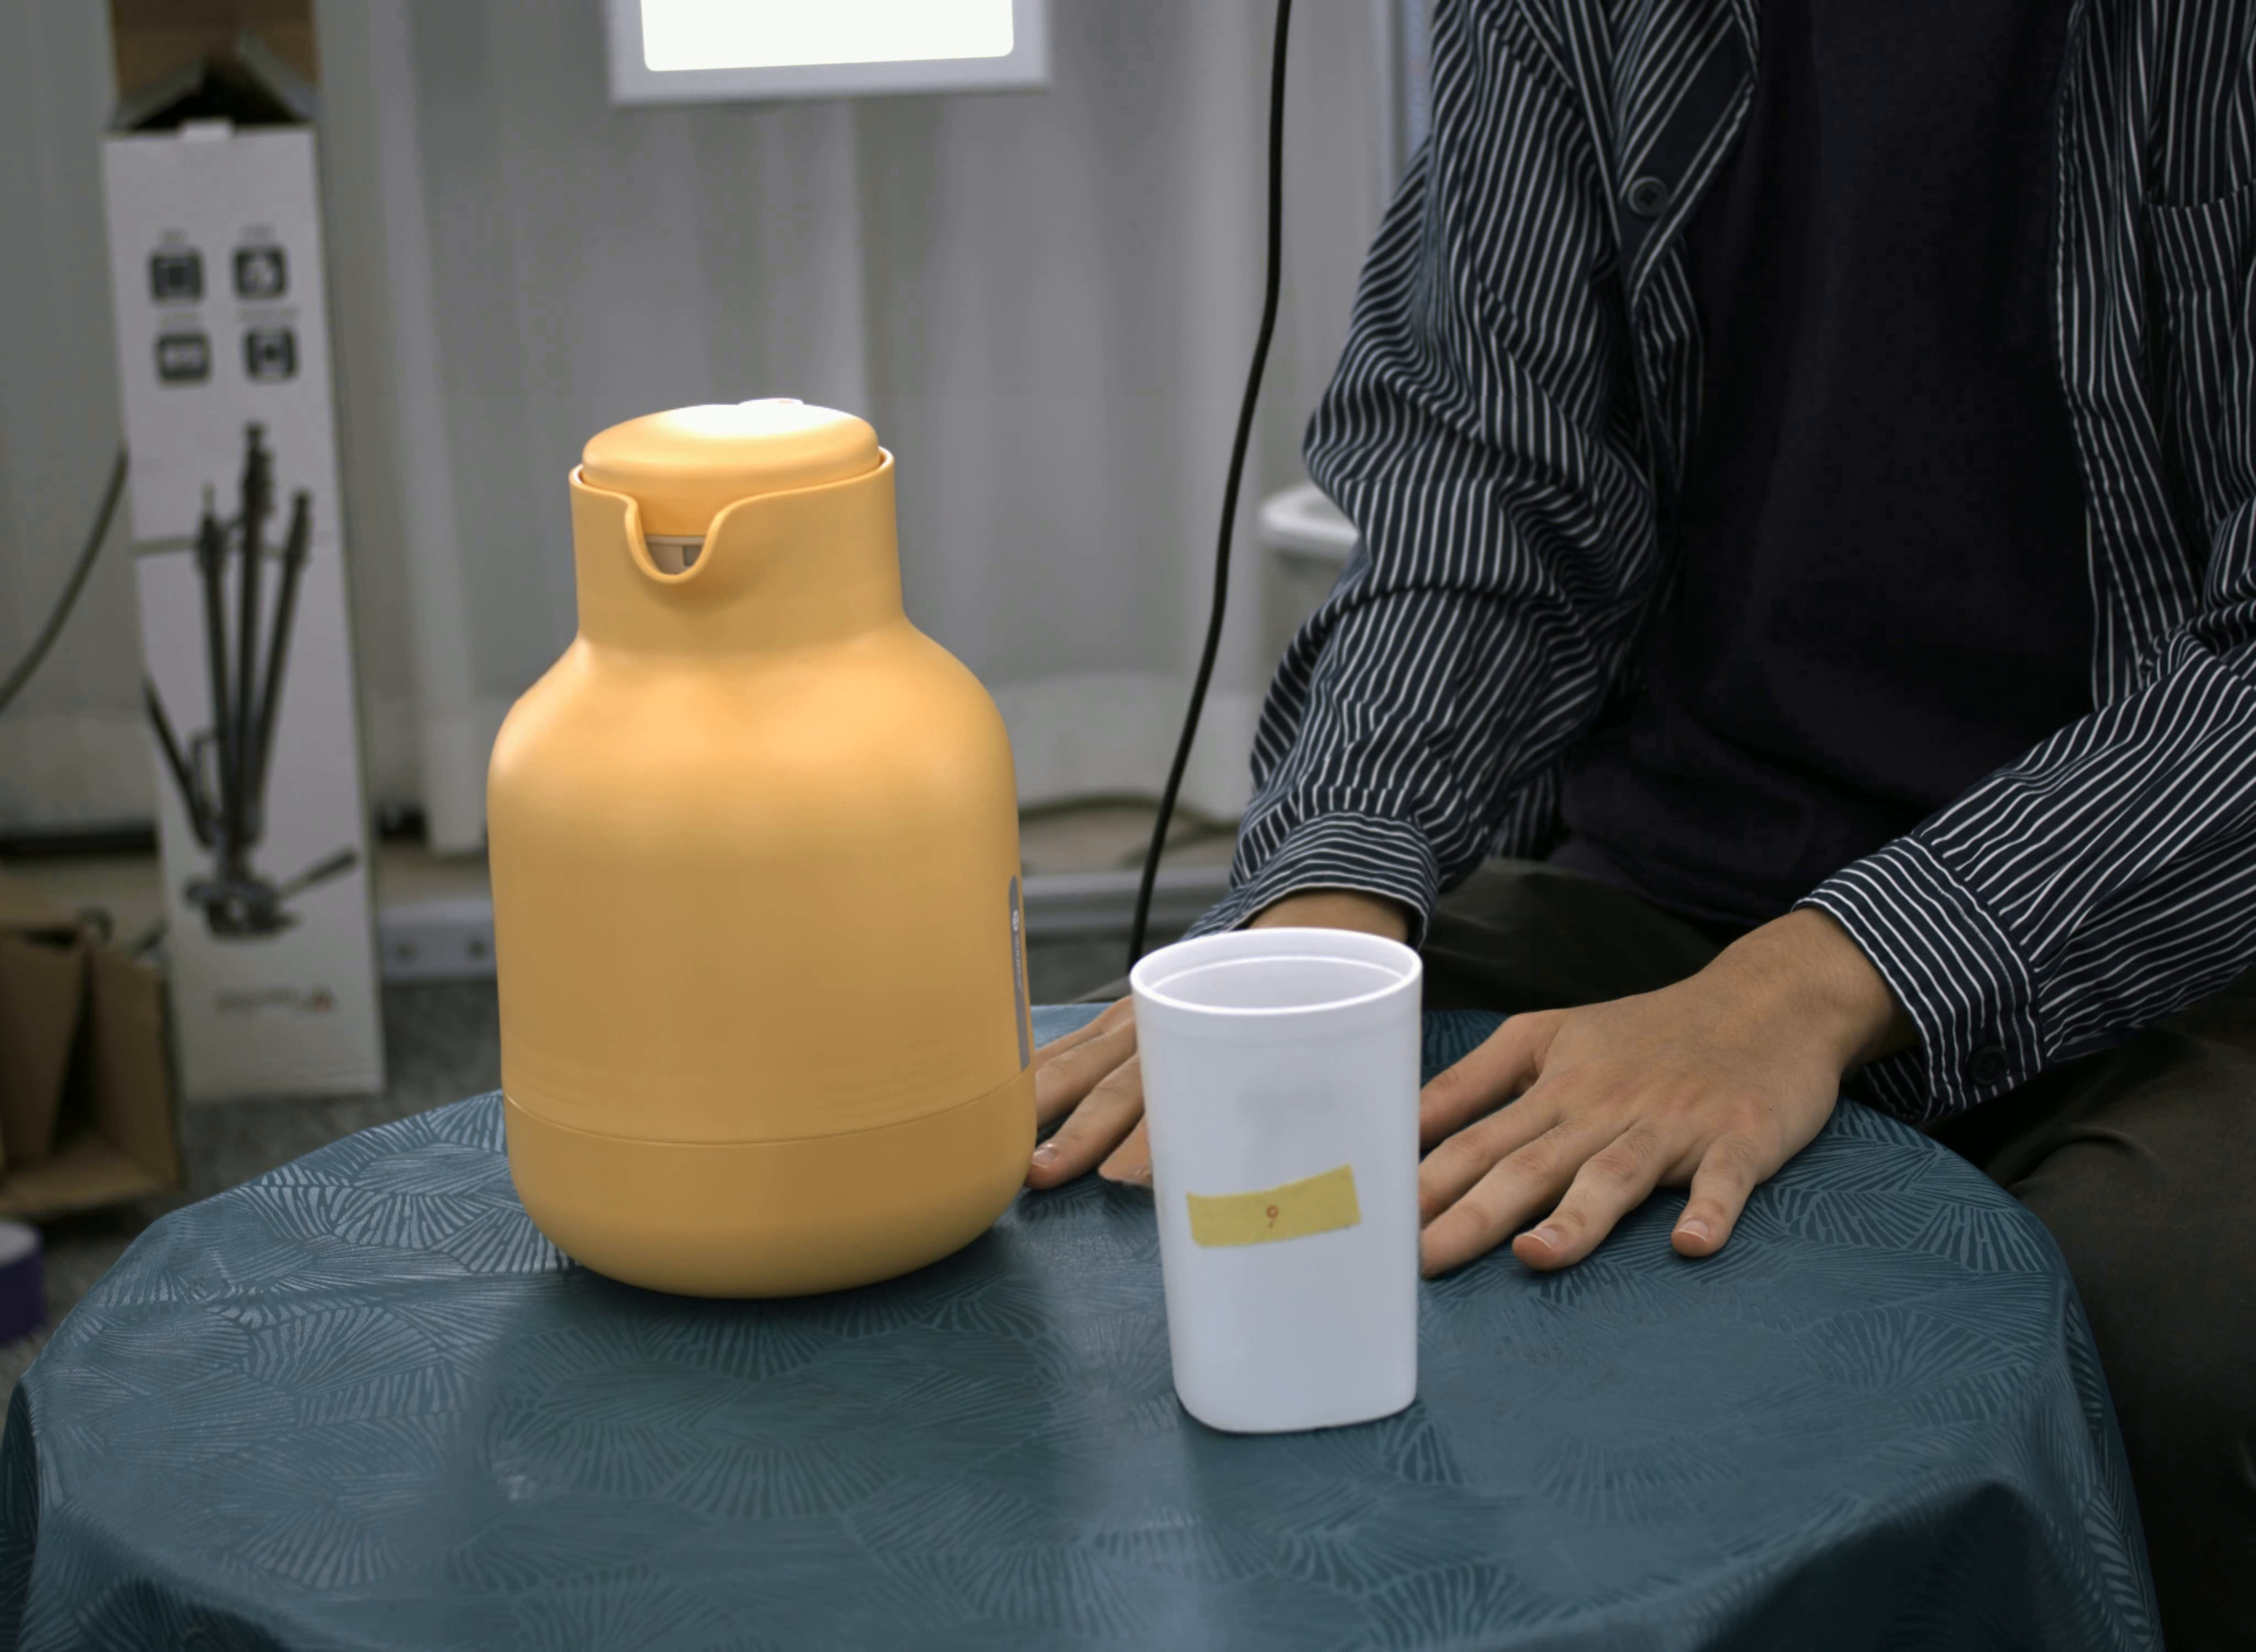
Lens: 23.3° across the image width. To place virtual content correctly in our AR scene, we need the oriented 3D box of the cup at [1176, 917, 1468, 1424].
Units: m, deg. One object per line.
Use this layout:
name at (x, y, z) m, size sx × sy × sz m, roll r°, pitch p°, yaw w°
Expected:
cup at (0.057, 0.096, 1.523) m, size 0.081 × 0.125 × 0.082 m, roll -3°, pitch 14°, yaw 1°

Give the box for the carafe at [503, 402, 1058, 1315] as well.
carafe at (-0.102, 0.002, 1.663) m, size 0.163 × 0.259 × 0.203 m, roll 1°, pitch 14°, yaw 8°
